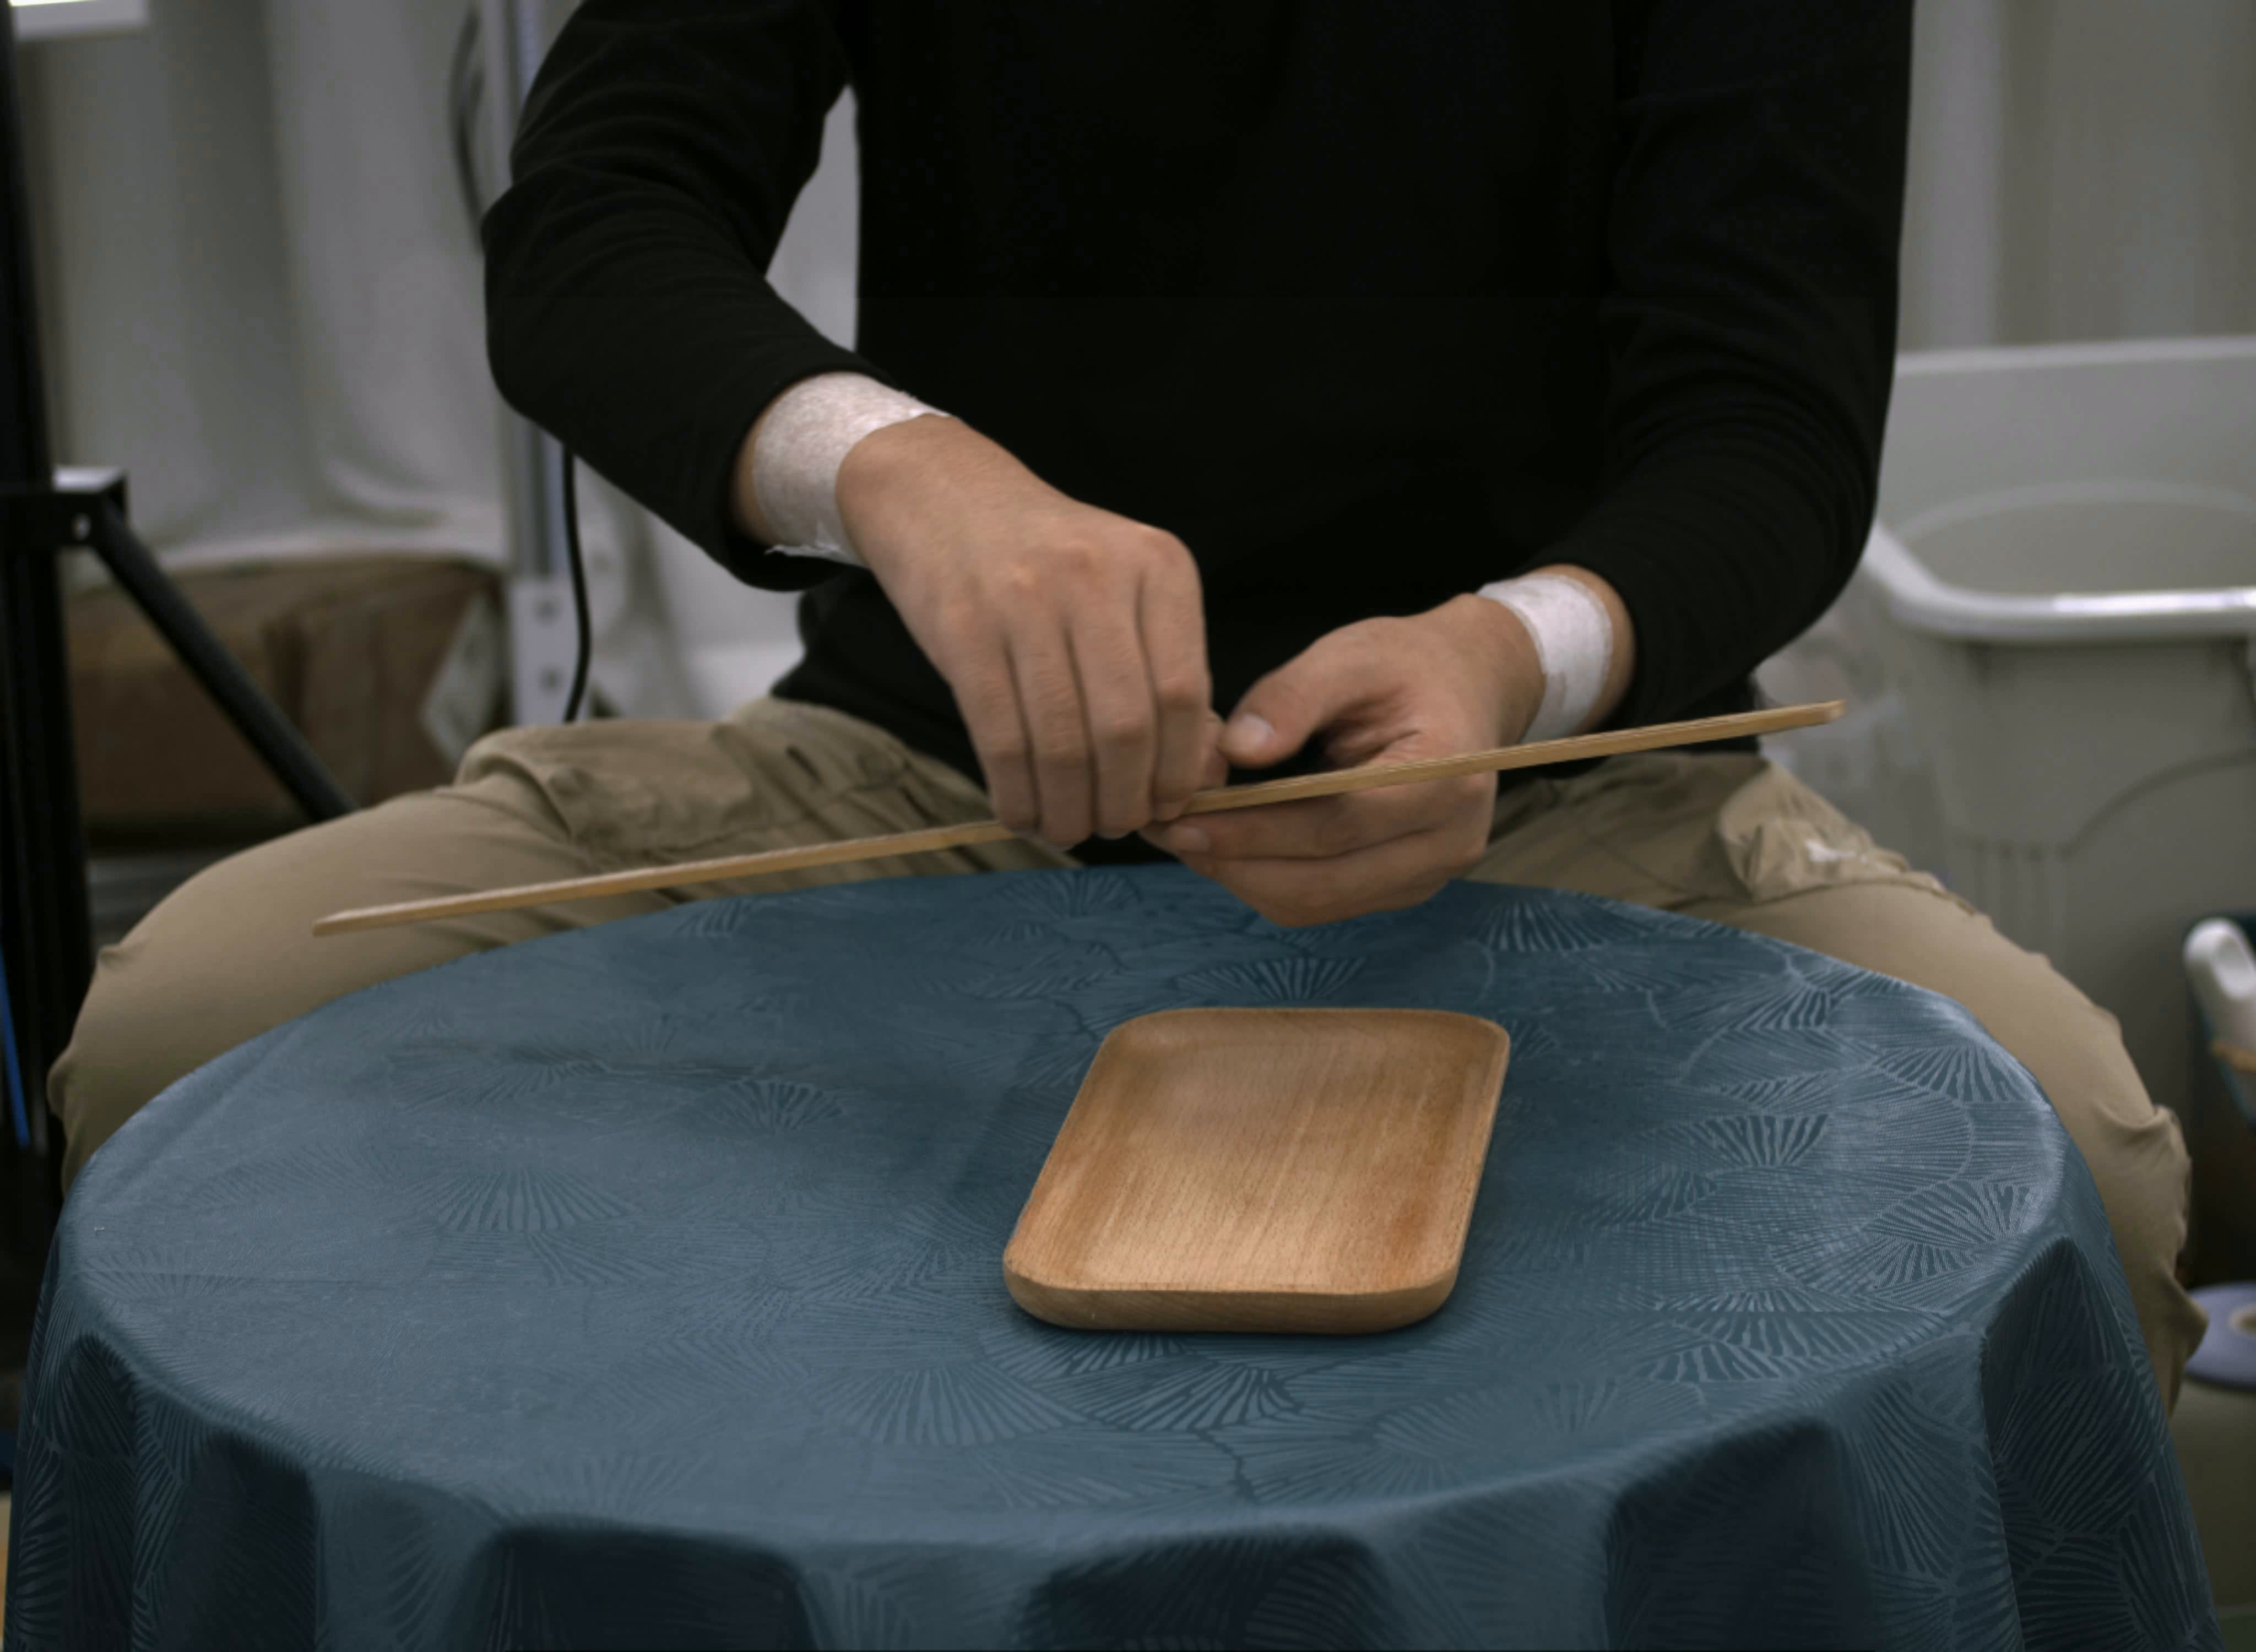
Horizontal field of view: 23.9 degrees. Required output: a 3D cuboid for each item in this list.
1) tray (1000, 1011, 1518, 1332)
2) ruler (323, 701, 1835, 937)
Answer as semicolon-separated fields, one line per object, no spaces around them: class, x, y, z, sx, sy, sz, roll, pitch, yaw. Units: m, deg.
tray;0.043;0.099;1.555;0.131;0.023;0.249;2;15;10
ruler;-0.028;0.000;1.610;0.507;0.006;0.026;-8;2;26
